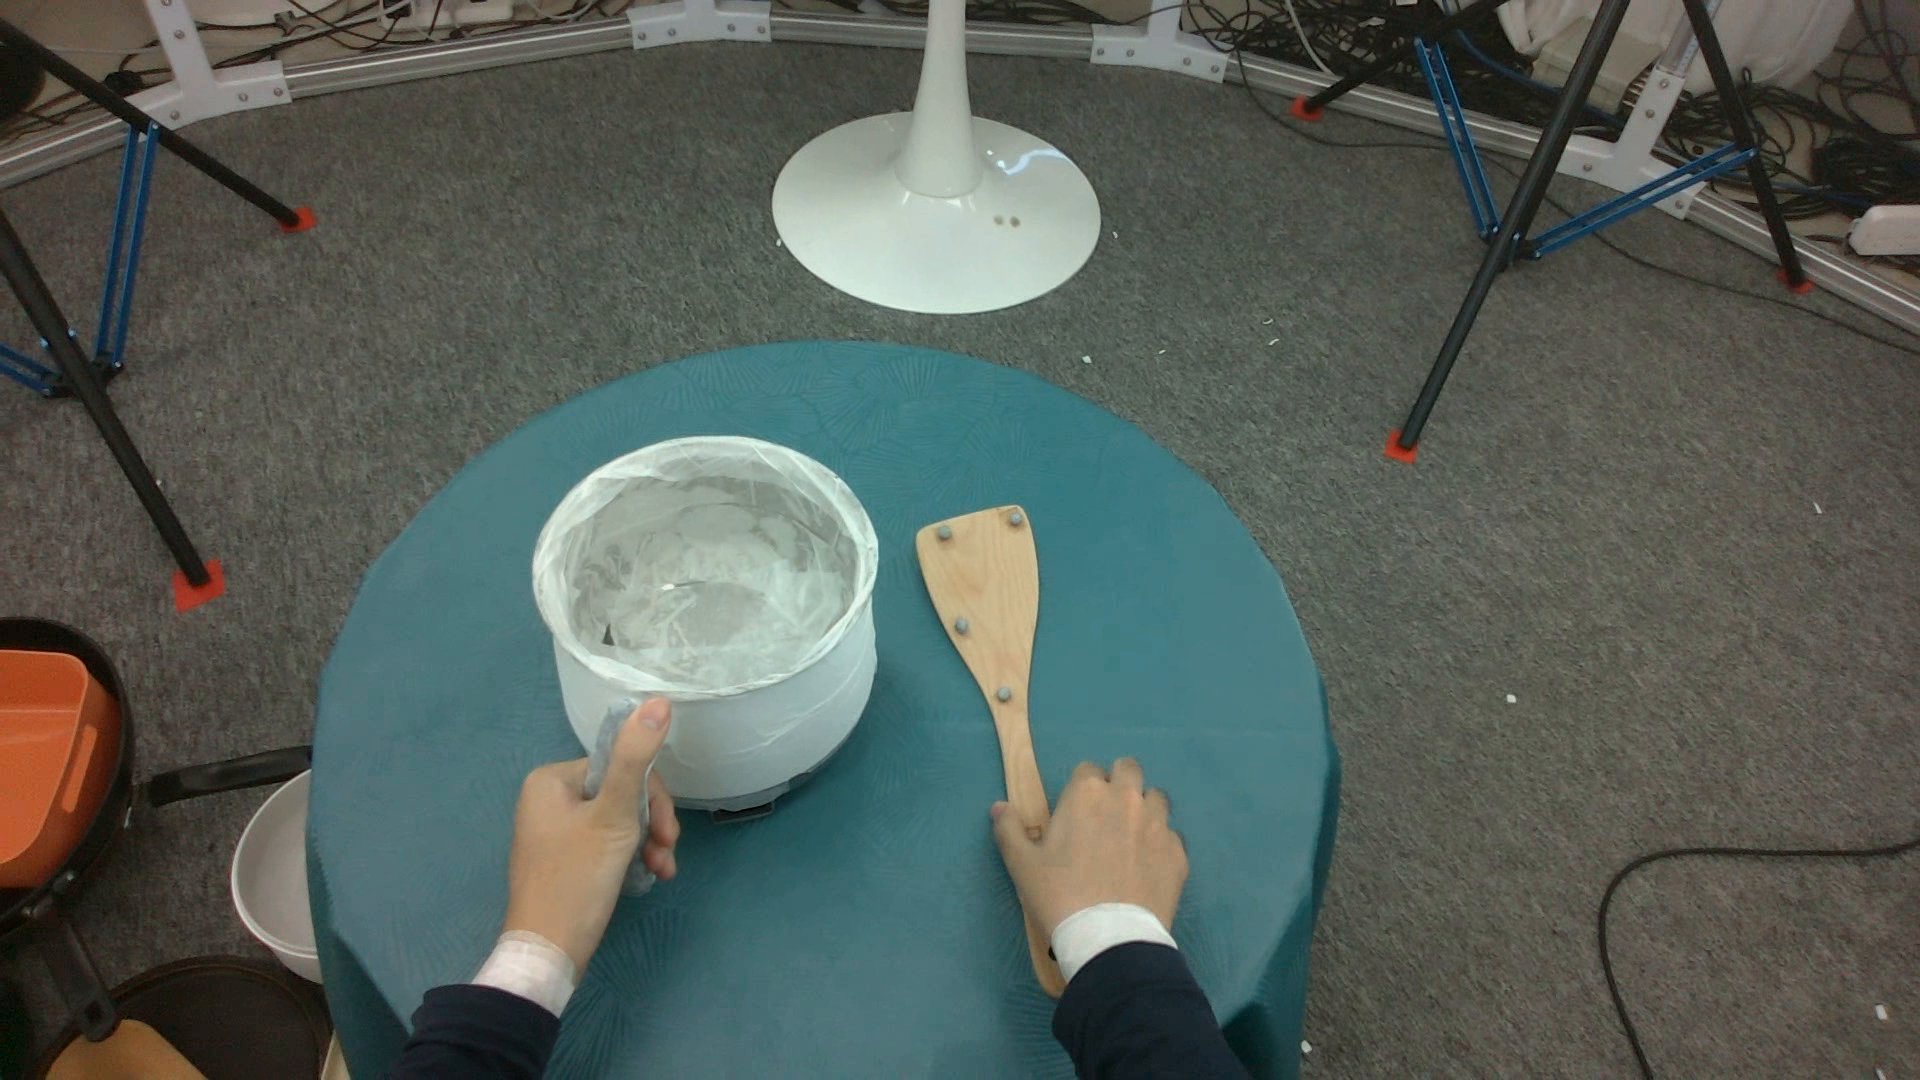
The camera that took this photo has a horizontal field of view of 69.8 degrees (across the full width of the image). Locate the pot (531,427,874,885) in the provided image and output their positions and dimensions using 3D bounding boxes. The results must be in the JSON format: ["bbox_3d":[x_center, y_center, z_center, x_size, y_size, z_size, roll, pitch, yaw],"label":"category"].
[{"bbox_3d":[-0.144,0.064,0.747,0.178,0.136,0.235,13,48,7],"label":"pot"}]

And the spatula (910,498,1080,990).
[{"bbox_3d":[0.027,0.105,0.812,0.080,0.016,0.329,-5,51,-7],"label":"spatula"}]
